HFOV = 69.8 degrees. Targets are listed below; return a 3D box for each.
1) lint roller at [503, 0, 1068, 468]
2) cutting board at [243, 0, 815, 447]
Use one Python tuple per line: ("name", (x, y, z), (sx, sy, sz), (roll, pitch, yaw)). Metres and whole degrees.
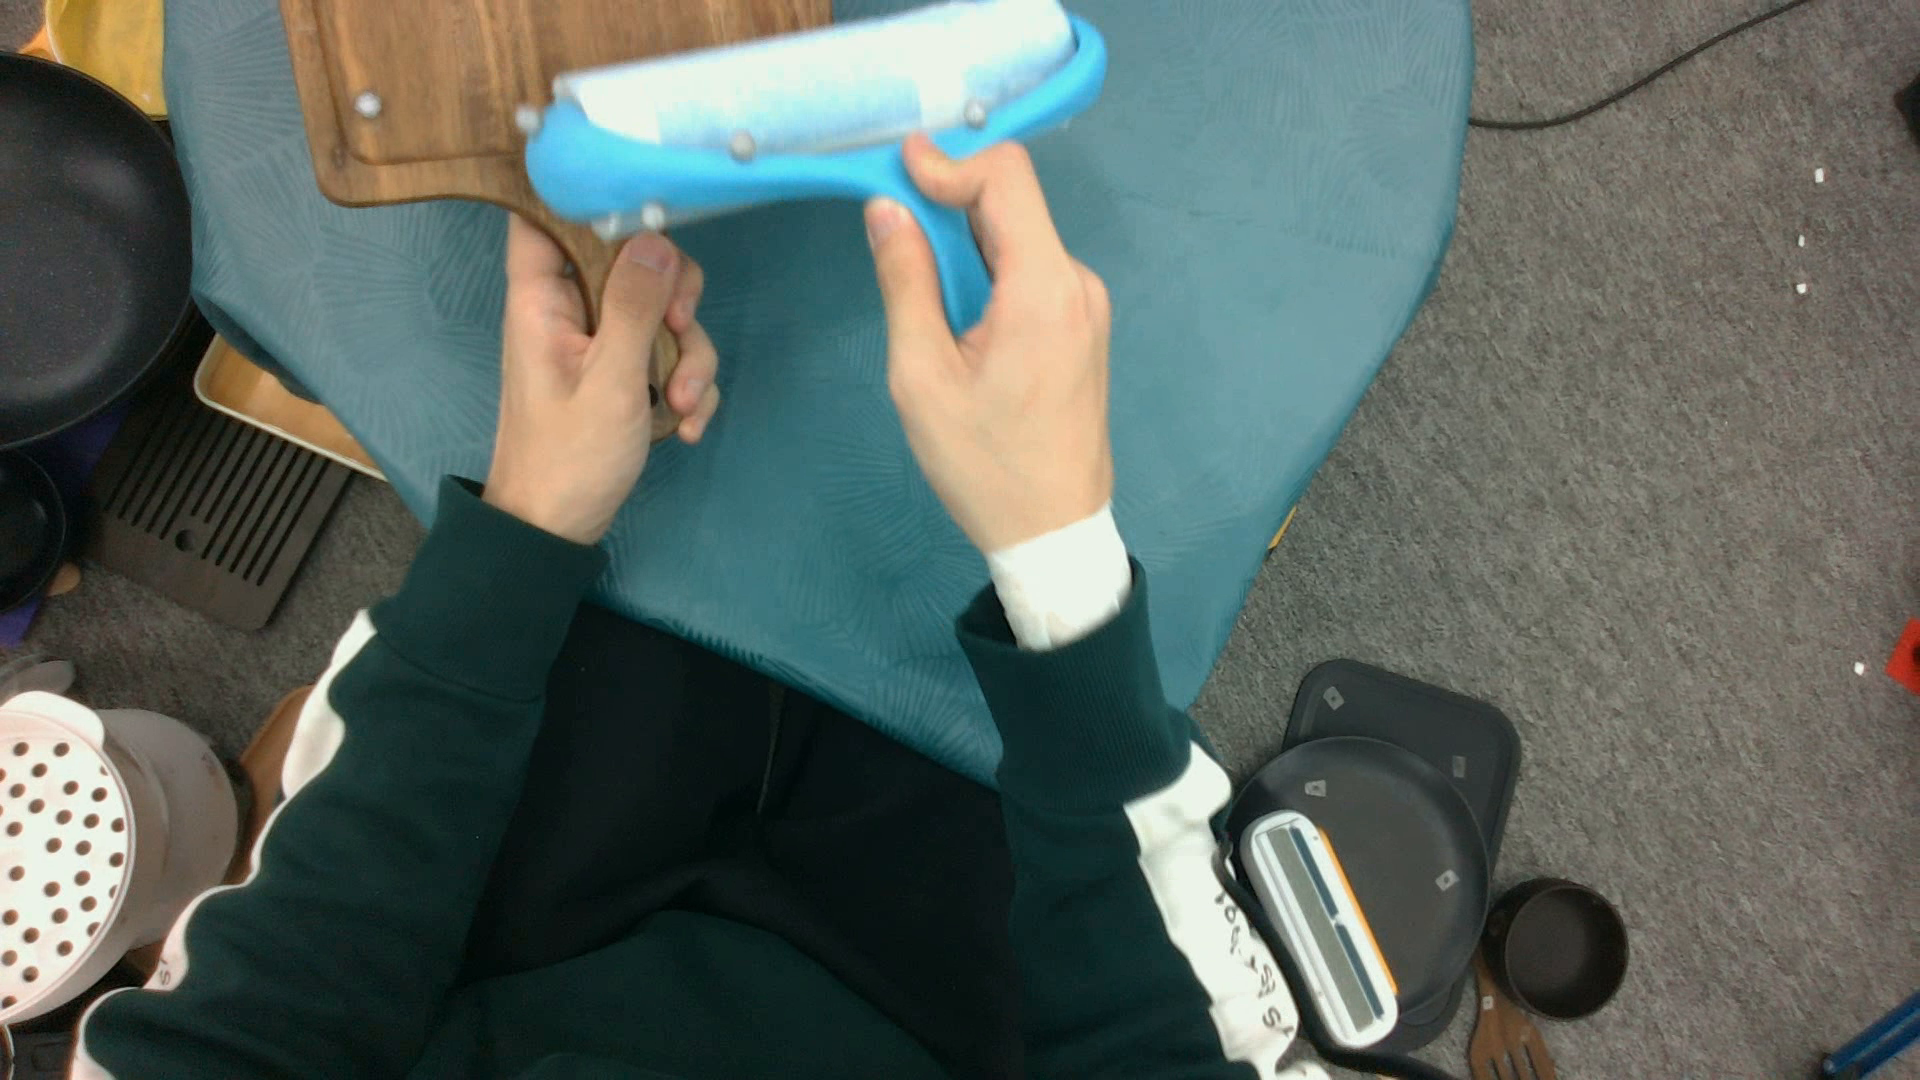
("lint roller", (-0.027, -0.114, 0.503), (0.230, 0.067, 0.180), (-26, 71, -29))
("cutting board", (-0.154, -0.205, 0.505), (0.201, 0.023, 0.351), (-15, 106, -22))
